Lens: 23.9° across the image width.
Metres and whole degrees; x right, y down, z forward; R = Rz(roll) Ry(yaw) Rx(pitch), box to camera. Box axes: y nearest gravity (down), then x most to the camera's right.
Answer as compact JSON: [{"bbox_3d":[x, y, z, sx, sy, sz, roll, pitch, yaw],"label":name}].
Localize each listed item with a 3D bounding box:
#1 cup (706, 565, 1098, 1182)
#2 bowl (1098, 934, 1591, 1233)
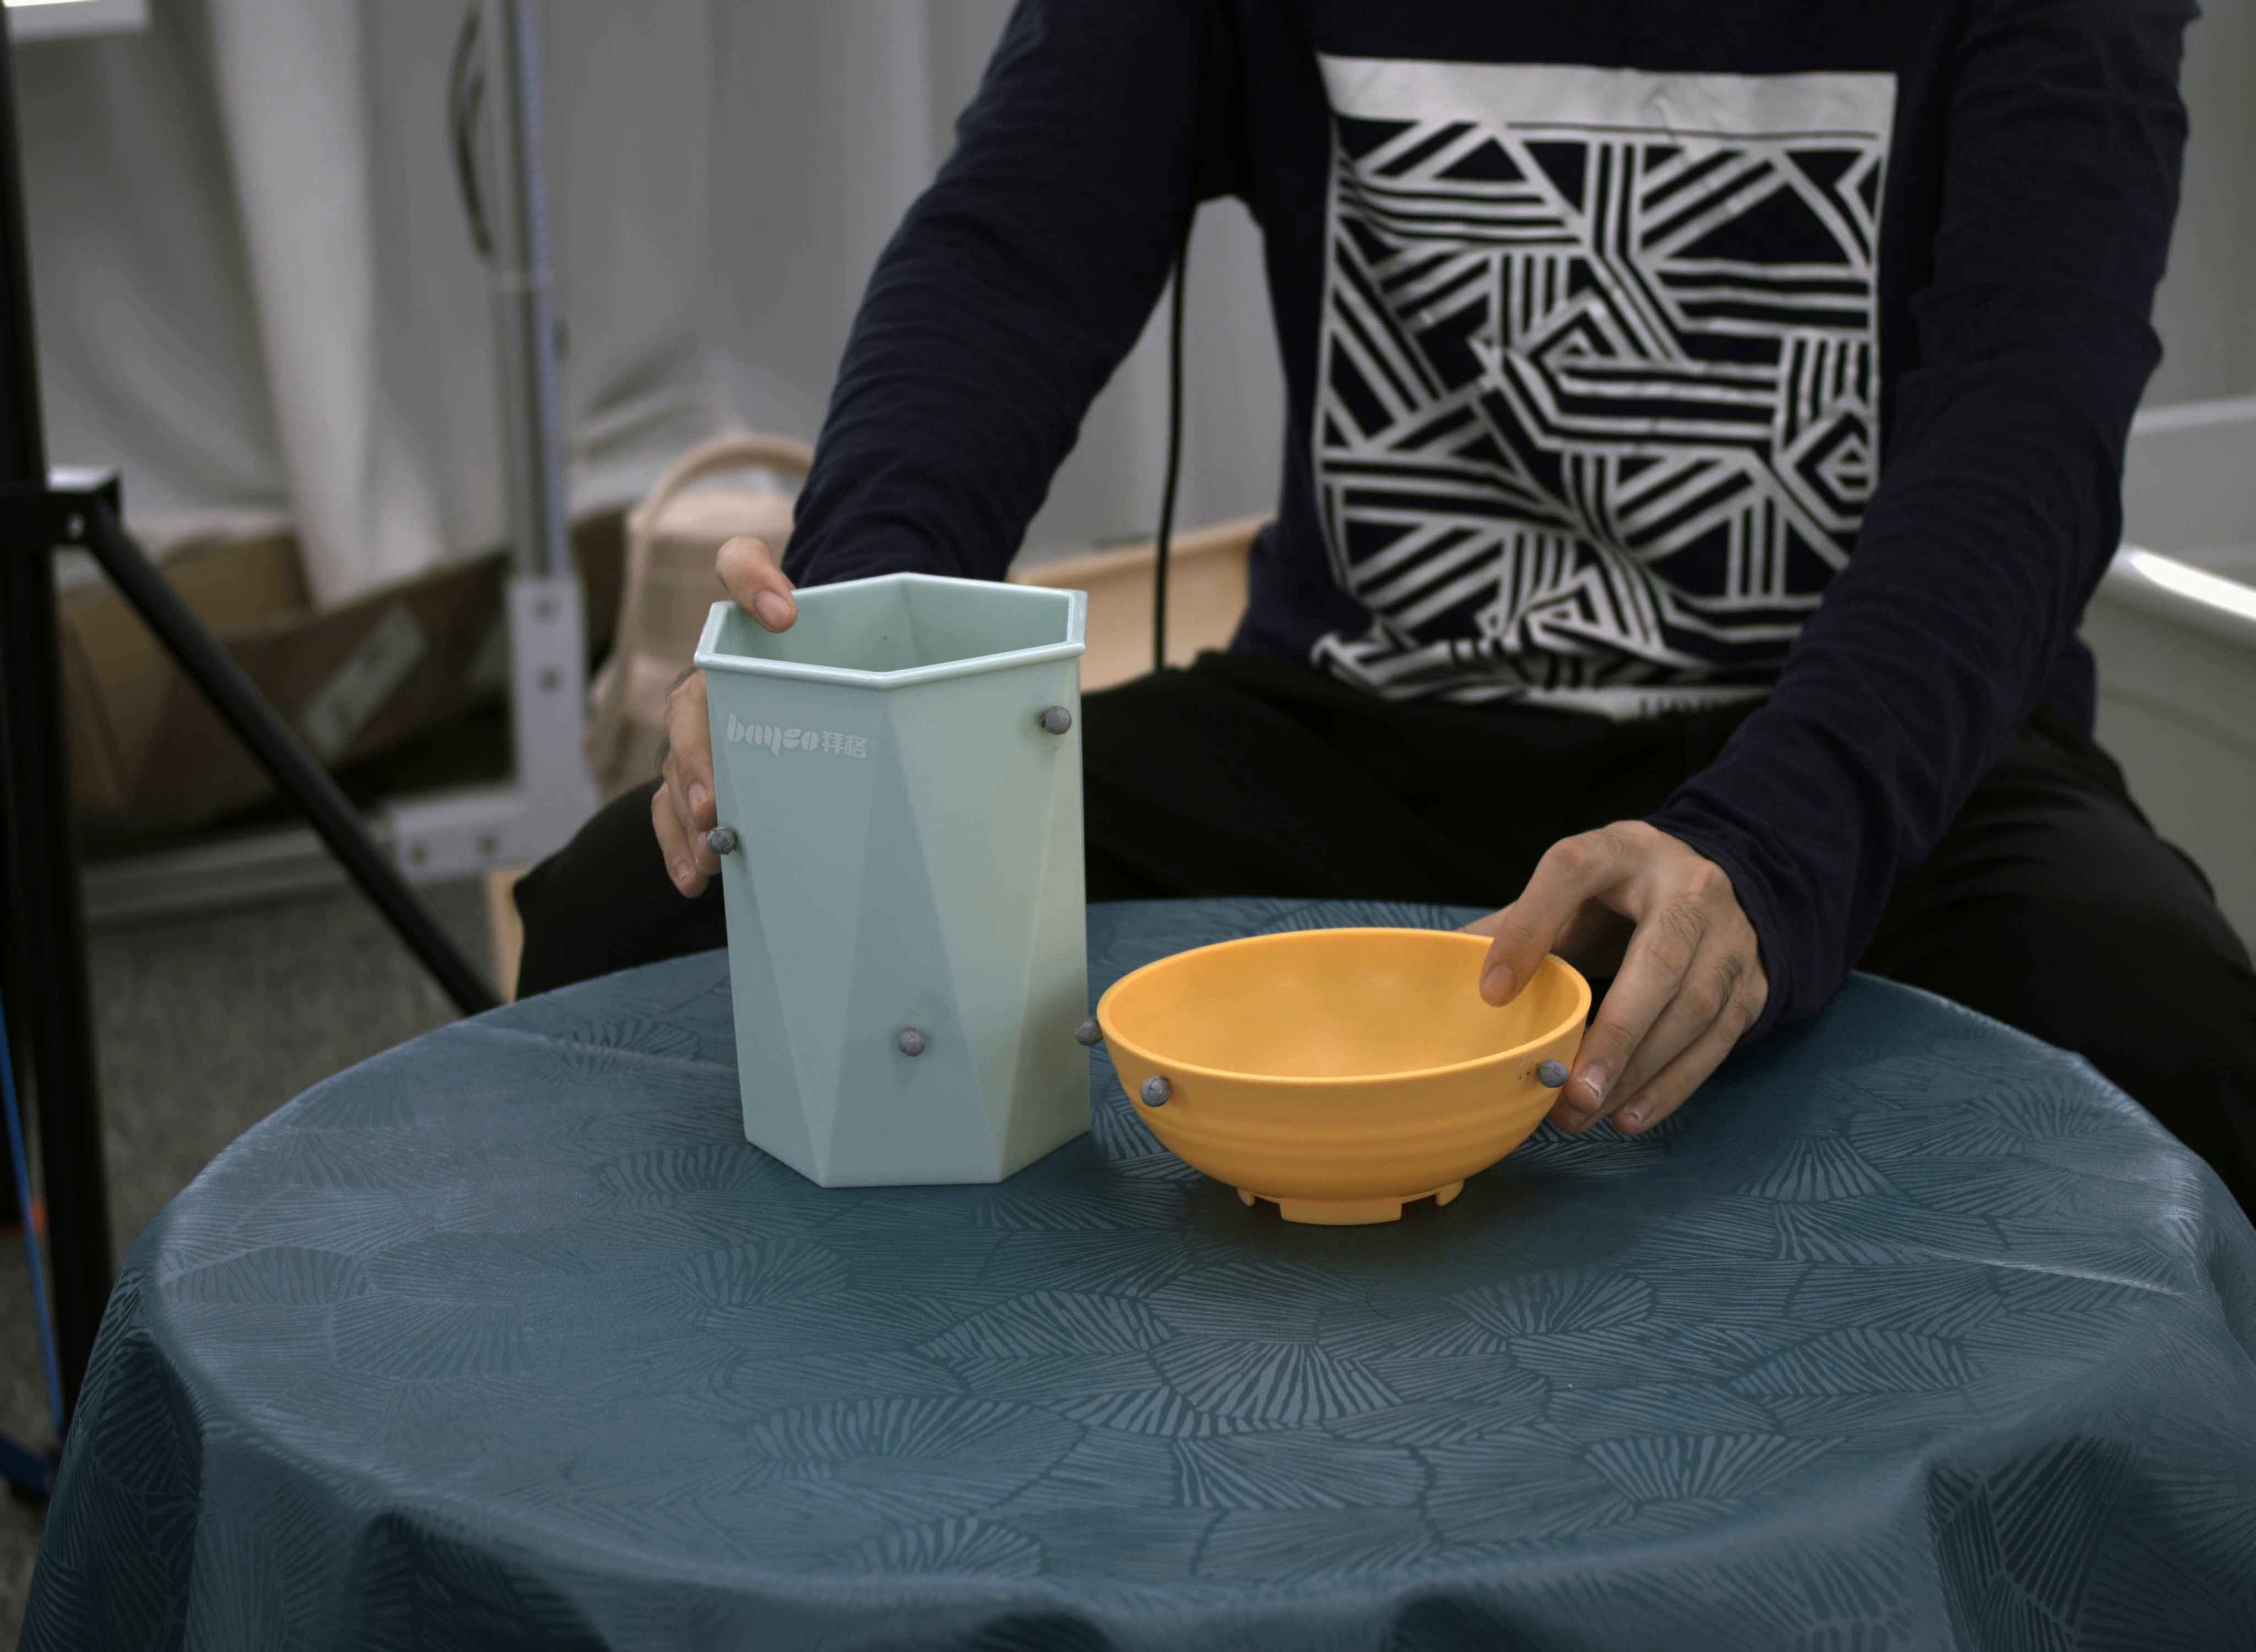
[{"bbox_3d":[-0.066,0.015,1.597,0.133,0.163,0.113,8,17,29],"label":"cup"},{"bbox_3d":[0.063,0.080,1.551,0.144,0.060,0.146,-1,15,-1],"label":"bowl"}]
